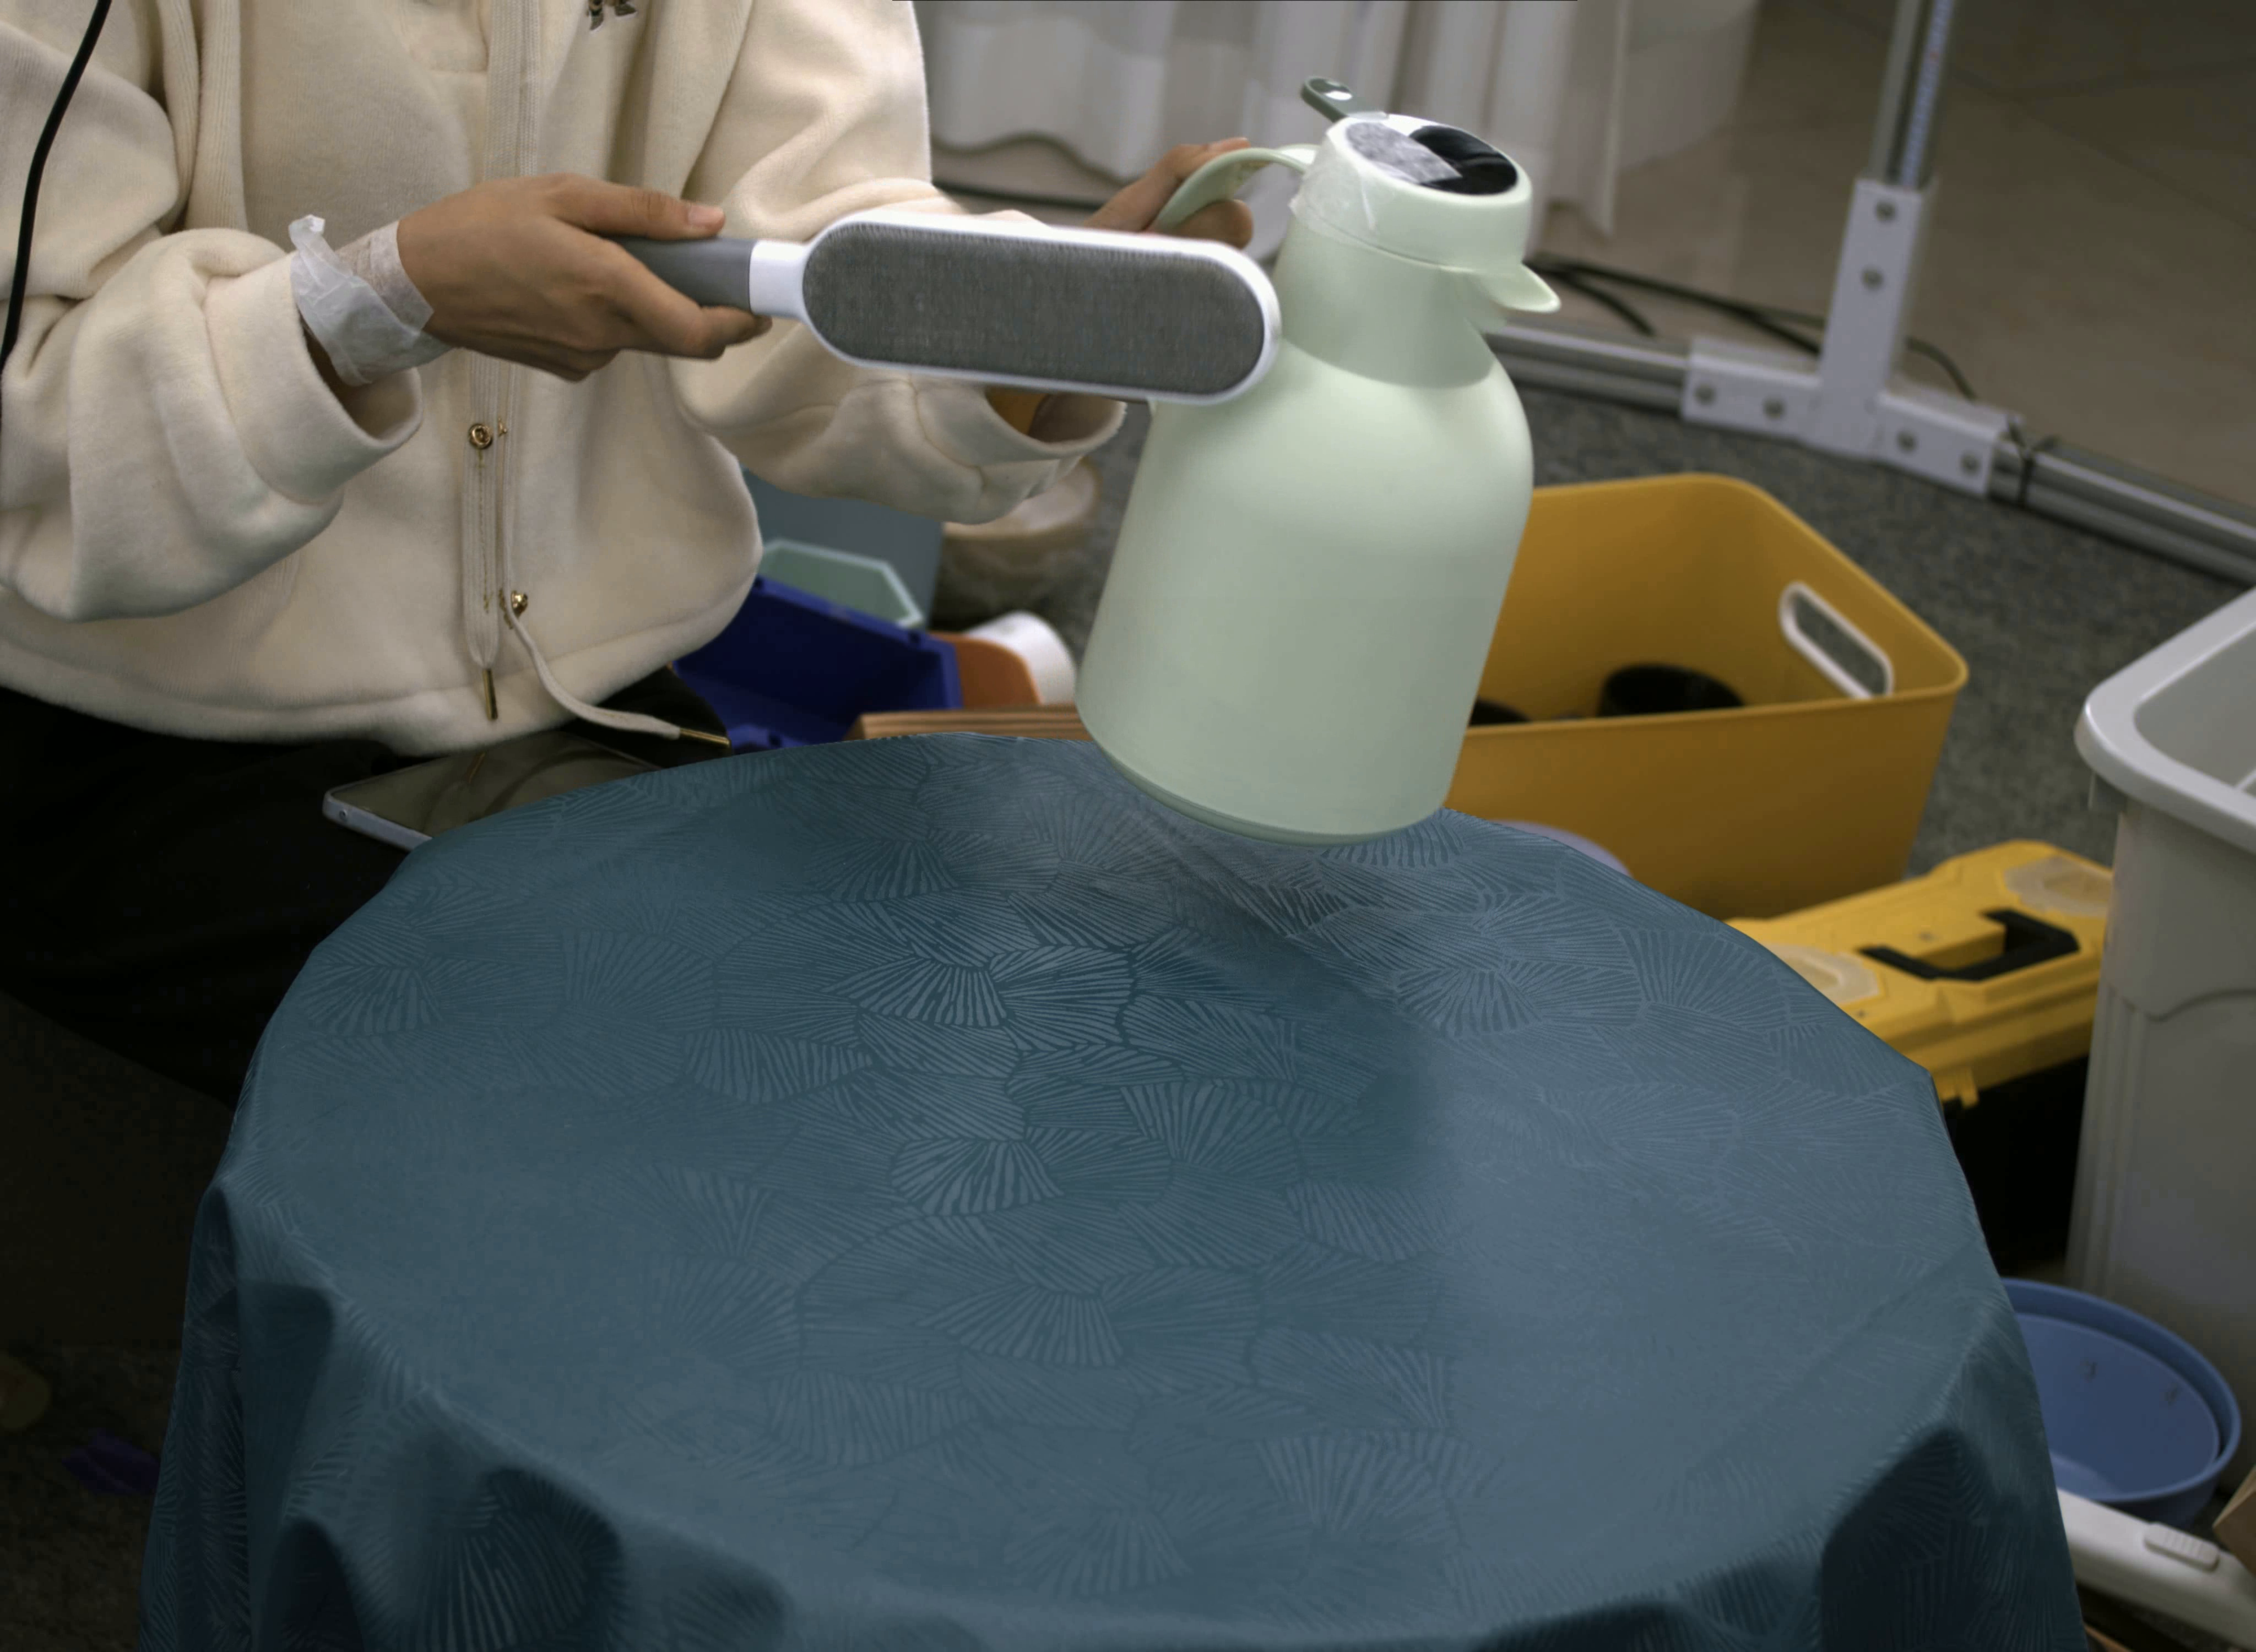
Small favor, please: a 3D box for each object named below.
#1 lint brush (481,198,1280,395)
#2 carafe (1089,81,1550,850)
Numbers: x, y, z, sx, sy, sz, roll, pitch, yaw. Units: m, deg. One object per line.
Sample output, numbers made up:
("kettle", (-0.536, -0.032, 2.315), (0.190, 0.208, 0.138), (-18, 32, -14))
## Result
("lint brush", (-0.092, -0.196, 1.908), (0.309, 0.060, 0.021), (7, 19, 20))
("carafe", (0.068, -0.136, 1.947), (0.143, 0.256, 0.188), (-11, 33, -38))
